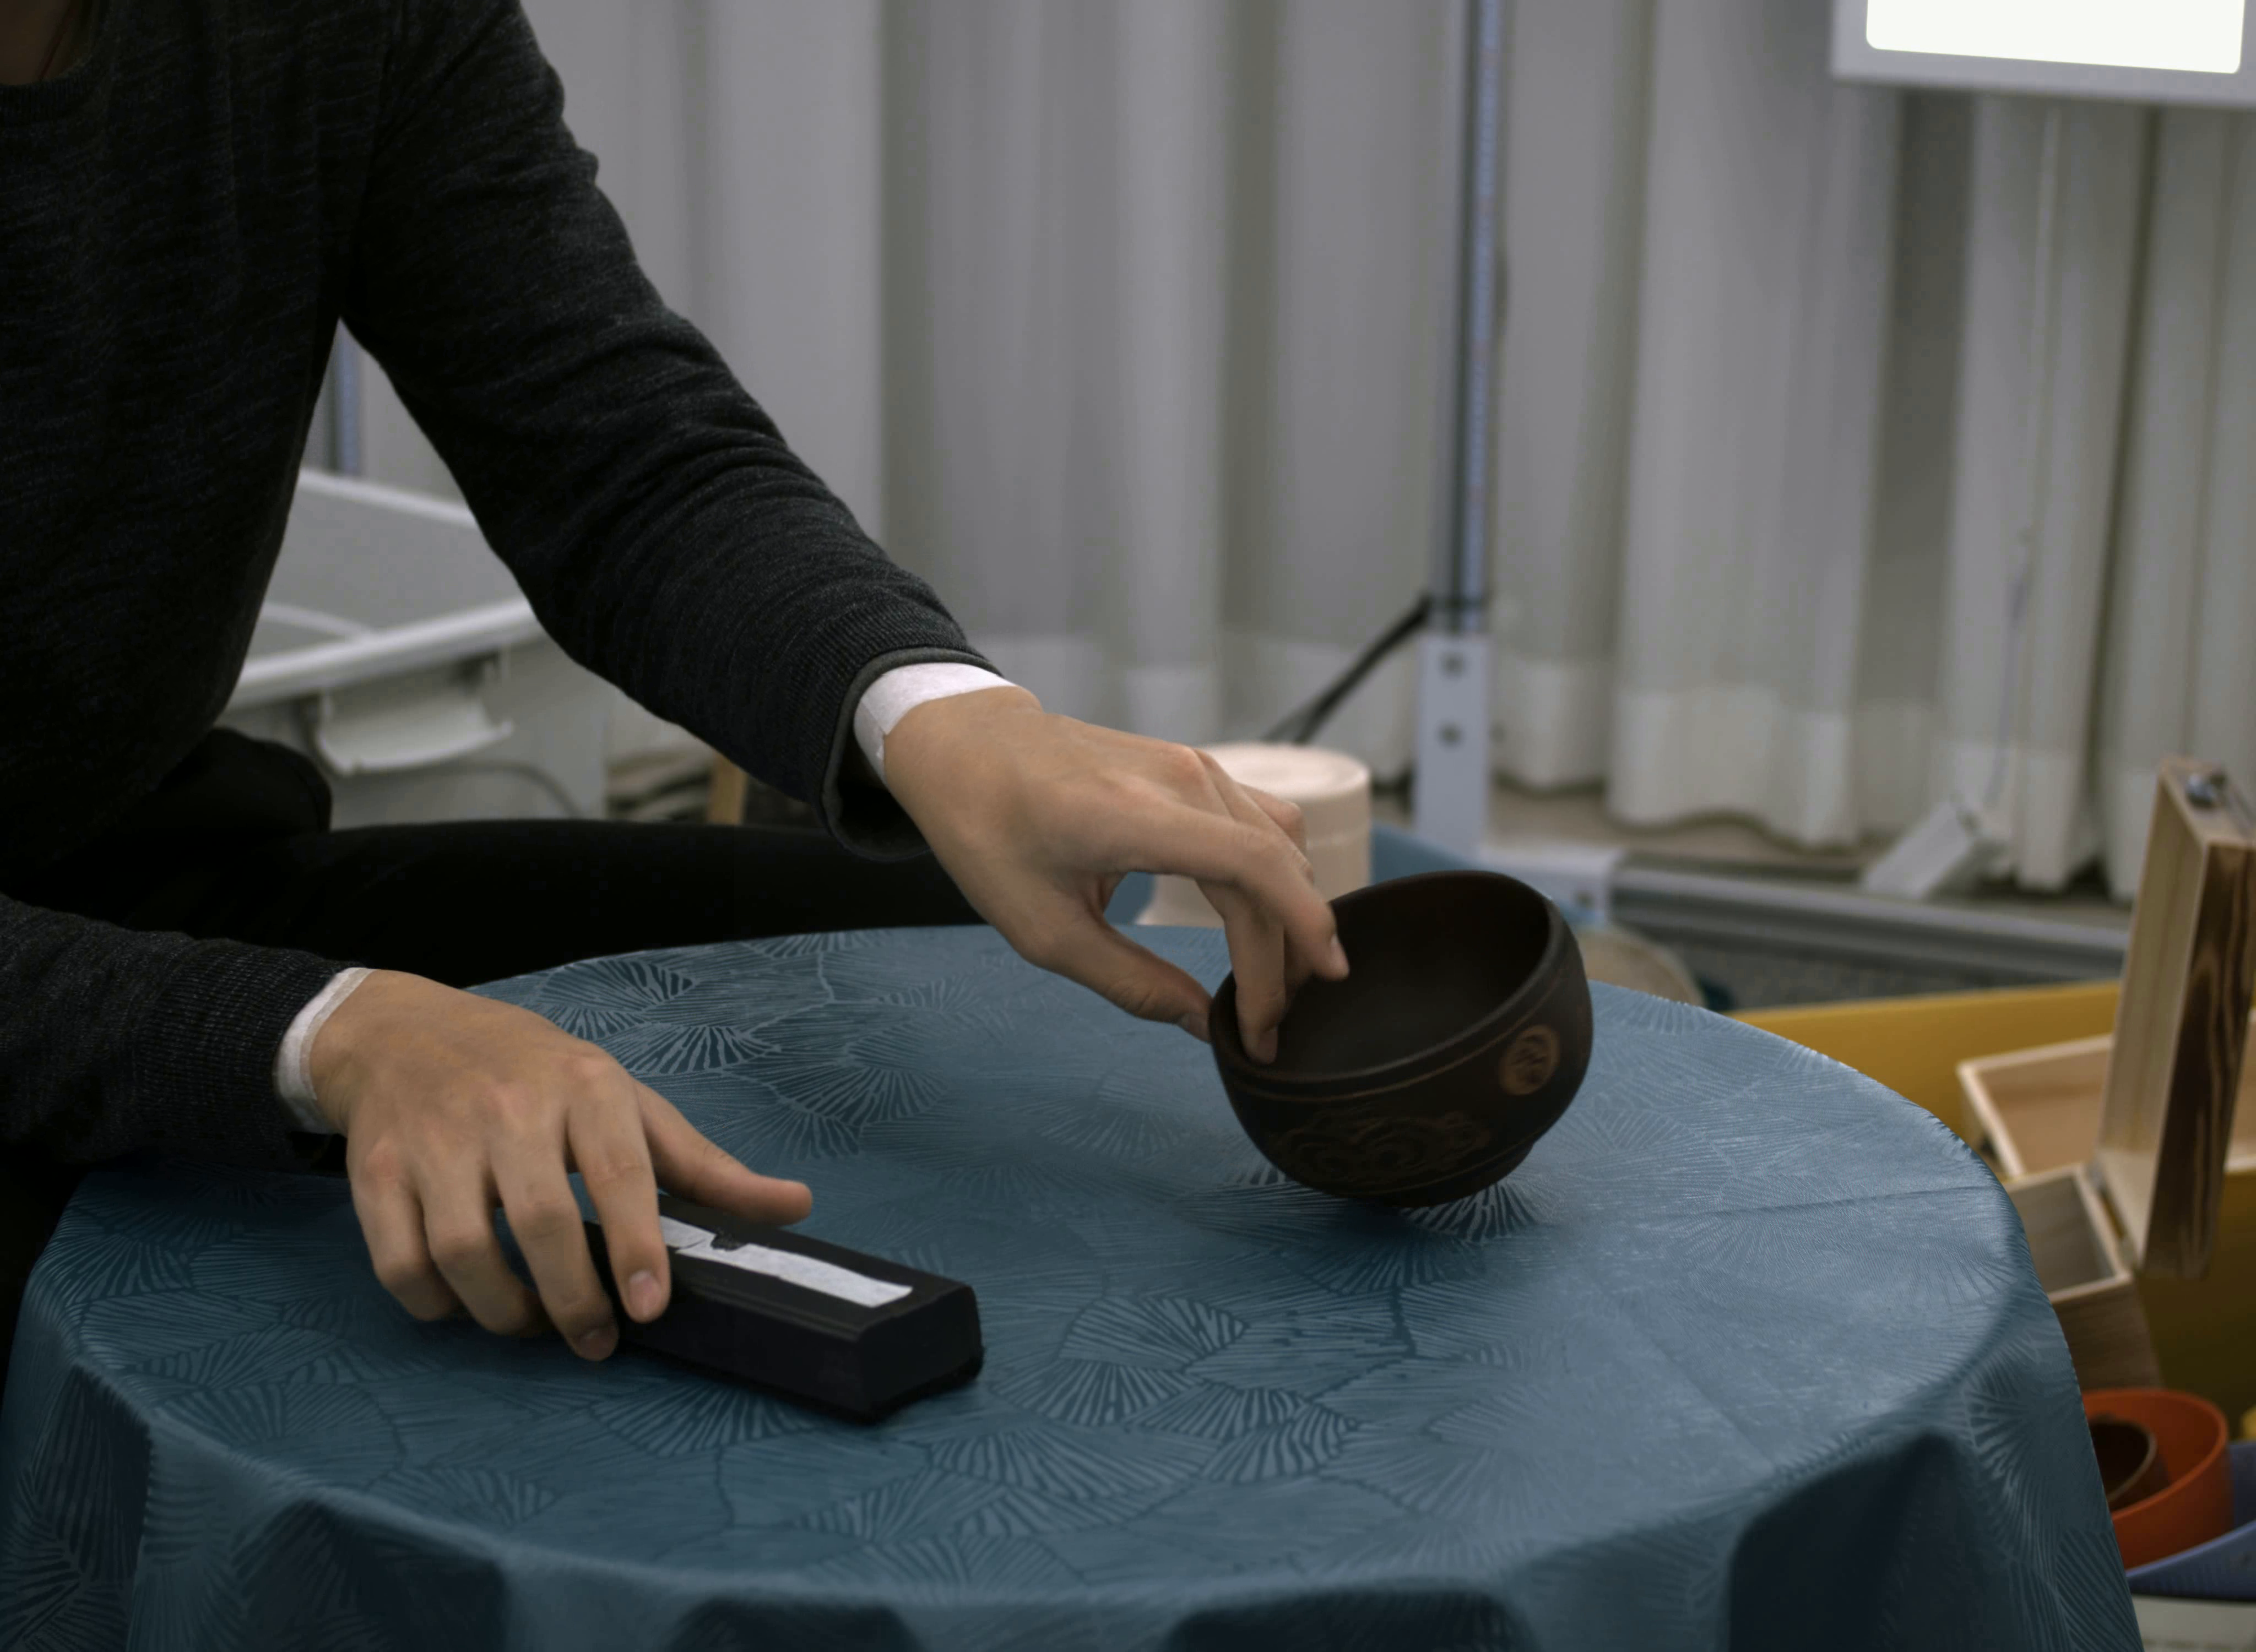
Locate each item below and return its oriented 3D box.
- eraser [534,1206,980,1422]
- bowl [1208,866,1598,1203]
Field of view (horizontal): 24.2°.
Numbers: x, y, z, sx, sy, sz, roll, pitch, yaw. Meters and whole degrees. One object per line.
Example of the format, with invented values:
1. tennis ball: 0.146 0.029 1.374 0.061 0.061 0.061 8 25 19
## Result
1. eraser: -0.104 0.136 1.479 0.124 0.030 0.054 12 16 35
2. bowl: 0.089 0.071 1.611 0.117 0.071 0.117 -16 26 9
